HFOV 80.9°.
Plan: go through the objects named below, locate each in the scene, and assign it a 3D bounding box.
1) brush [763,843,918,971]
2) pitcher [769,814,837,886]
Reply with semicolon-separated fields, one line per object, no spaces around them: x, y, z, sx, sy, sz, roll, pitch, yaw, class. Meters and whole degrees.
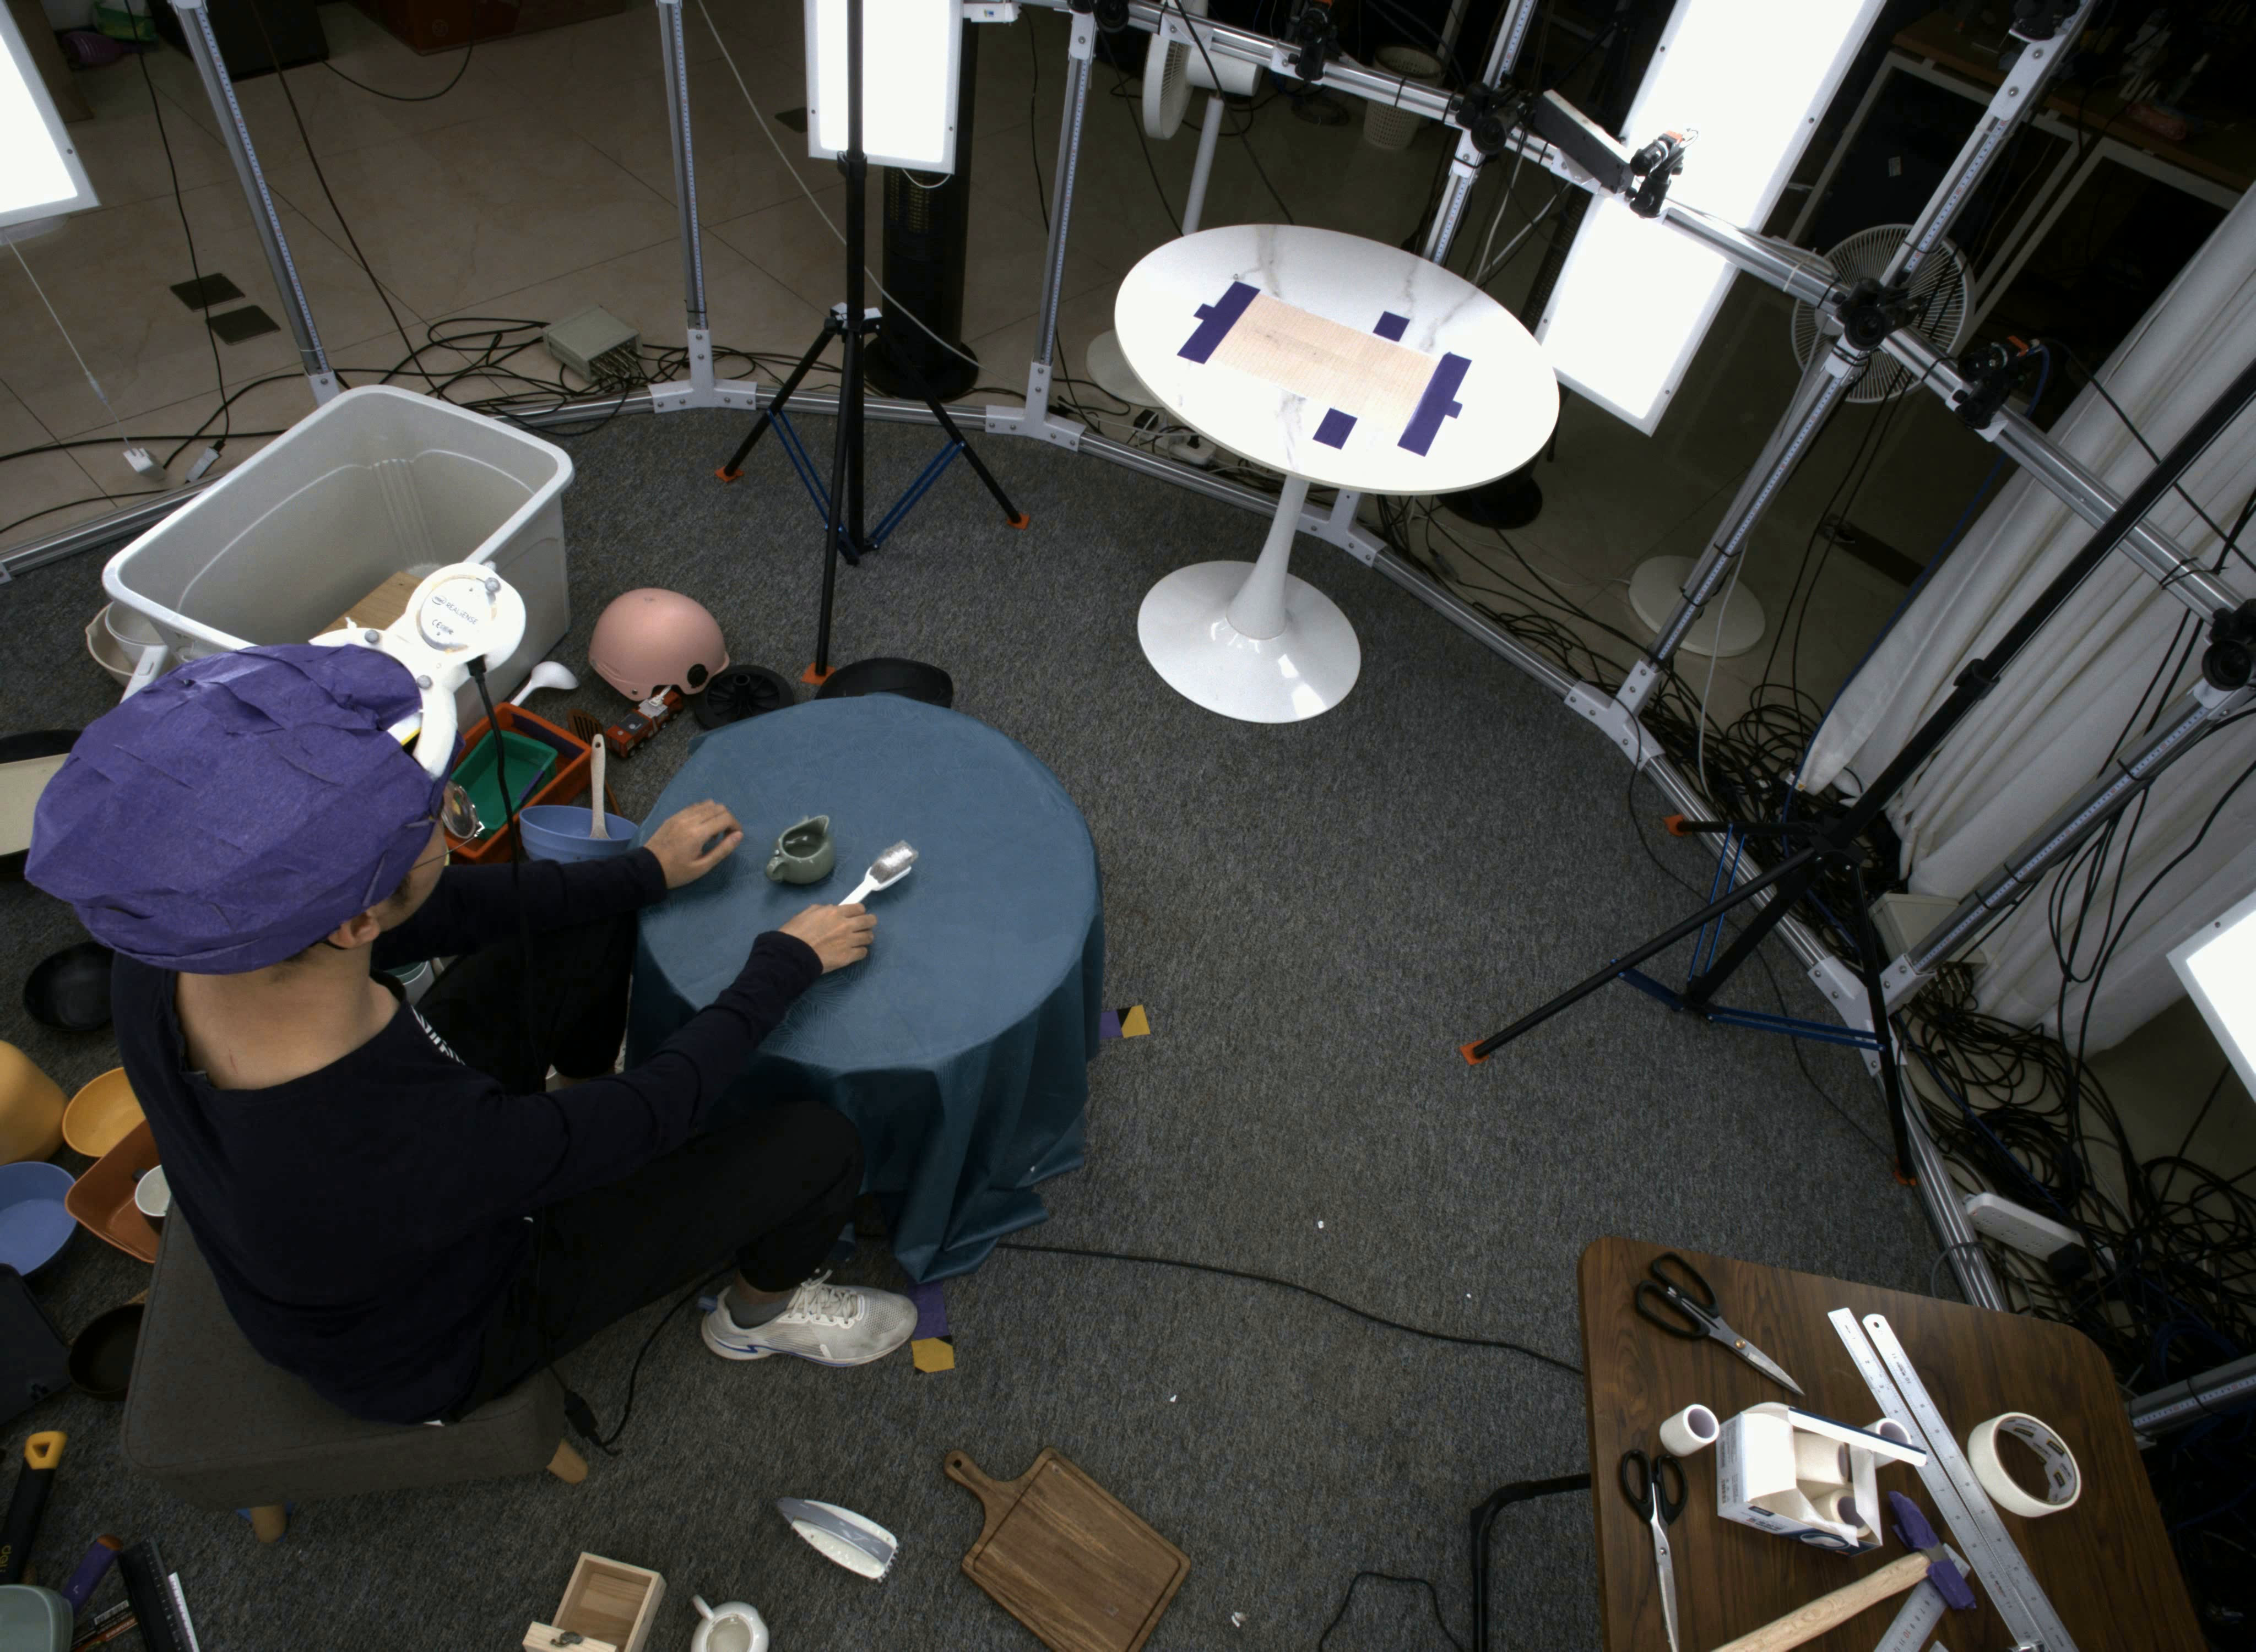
-0.360;0.096;1.635;0.034;0.050;0.244;45;54;8;brush
-0.421;0.037;1.664;0.082;0.057;0.112;27;54;11;pitcher
